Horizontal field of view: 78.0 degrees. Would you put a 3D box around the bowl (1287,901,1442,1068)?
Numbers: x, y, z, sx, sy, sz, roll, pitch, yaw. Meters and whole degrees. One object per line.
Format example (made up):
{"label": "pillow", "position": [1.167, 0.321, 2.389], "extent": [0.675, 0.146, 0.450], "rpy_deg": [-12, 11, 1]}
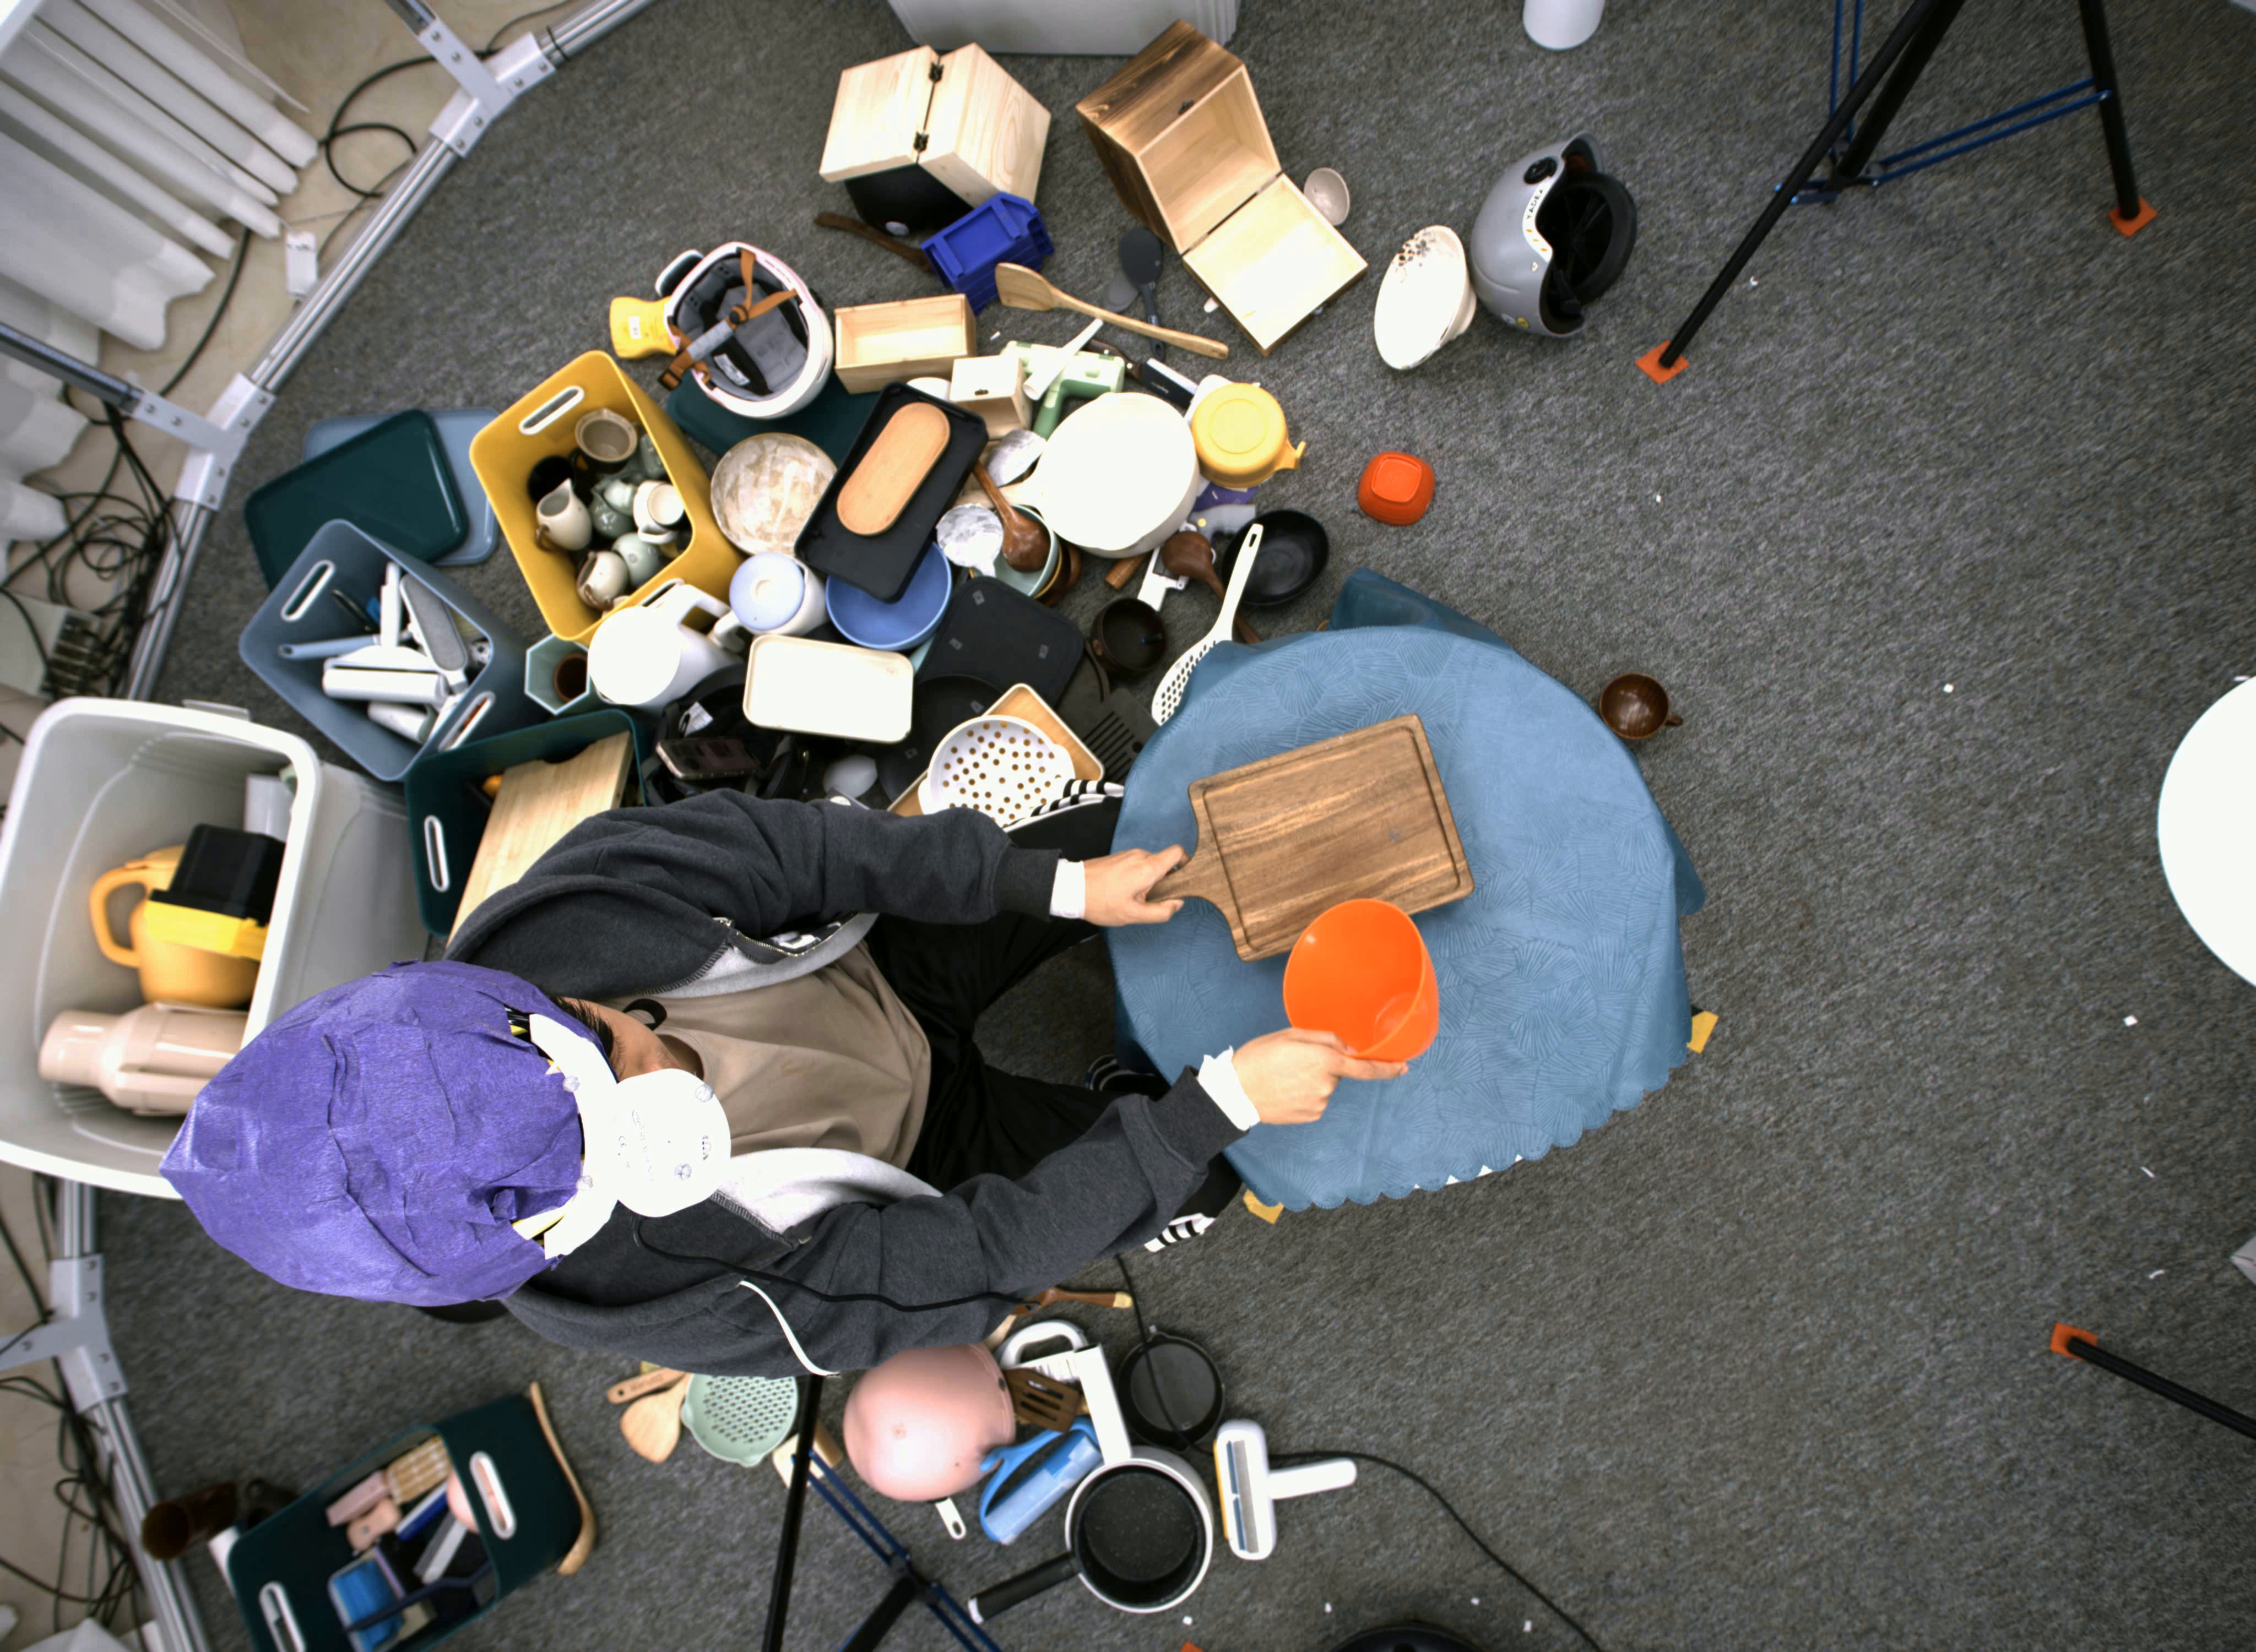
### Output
{"label": "bowl", "position": [0.231, 0.156, 1.268], "extent": [0.150, 0.105, 0.144], "rpy_deg": [-29, 43, 30]}

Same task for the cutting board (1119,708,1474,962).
{"label": "cutting board", "position": [0.158, 0.024, 1.421], "extent": [0.353, 0.023, 0.200], "rpy_deg": [-18, 88, 6]}
